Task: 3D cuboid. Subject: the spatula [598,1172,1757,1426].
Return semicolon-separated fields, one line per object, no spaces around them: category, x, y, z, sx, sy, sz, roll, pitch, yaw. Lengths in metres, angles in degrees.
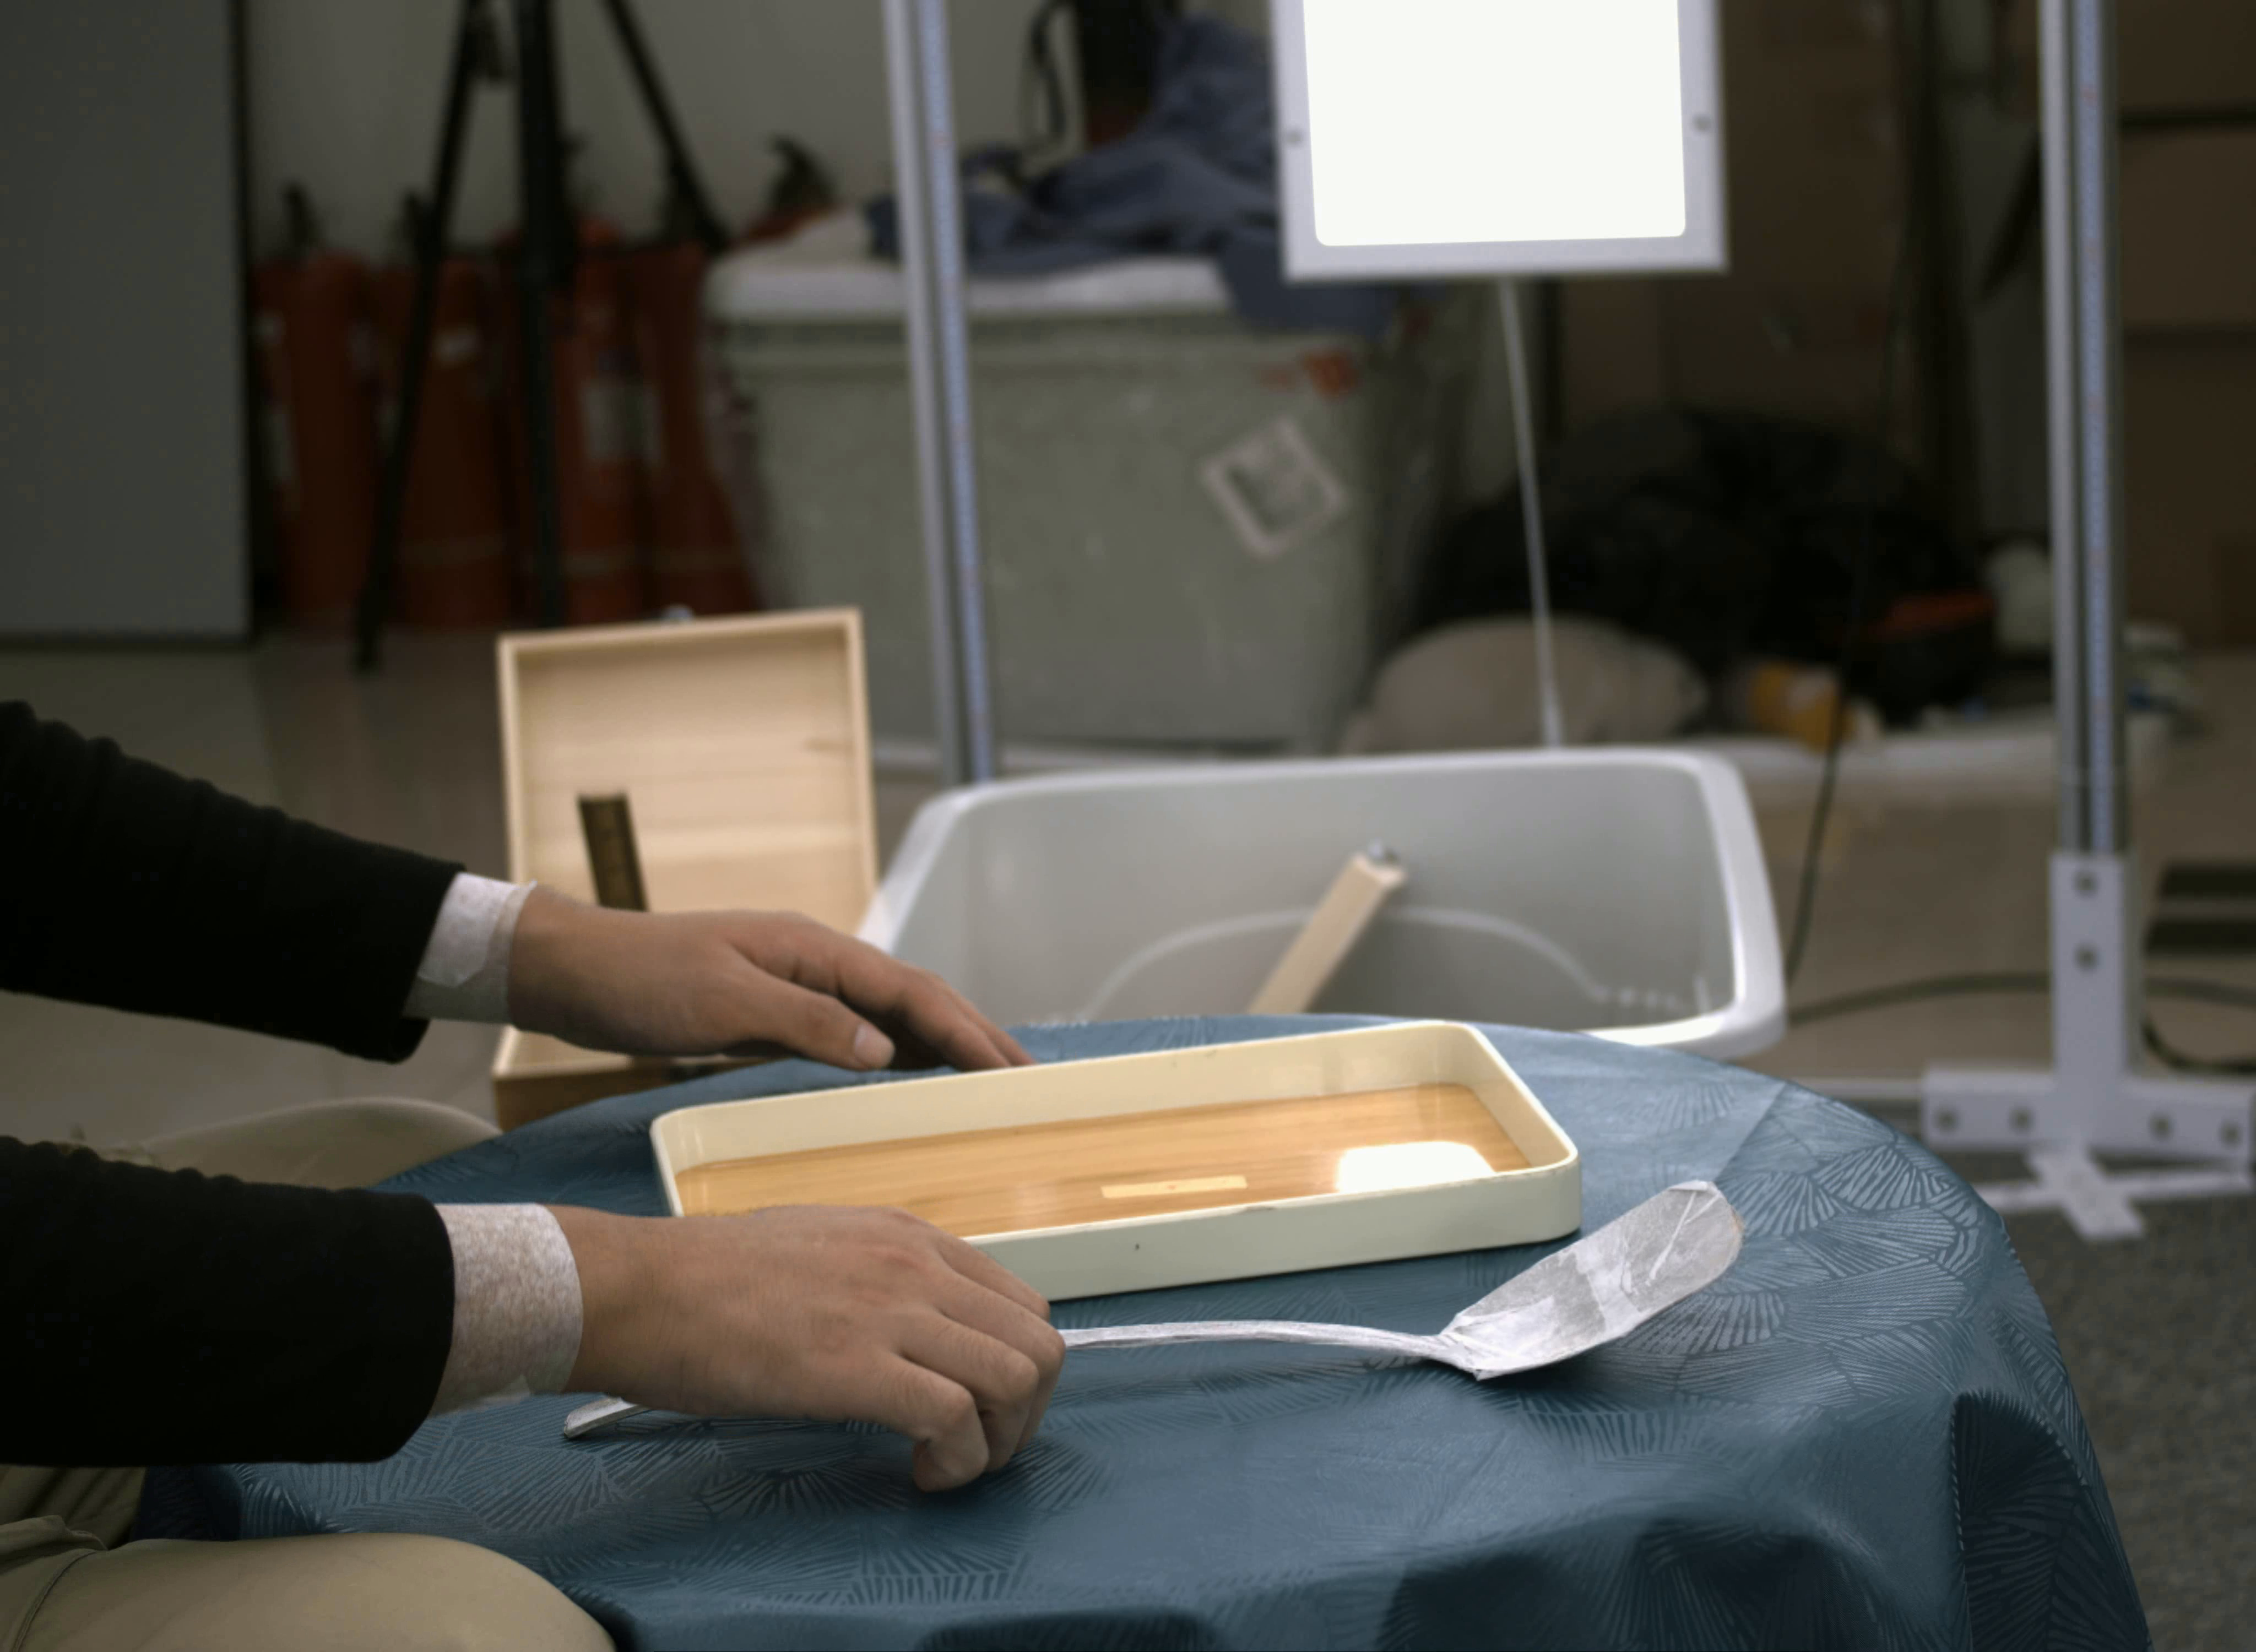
spatula;0.014;0.153;1.704;0.364;0.045;0.098;-5;14;2

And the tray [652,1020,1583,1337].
tray;-0.008;0.118;1.879;0.298;0.027;0.192;-7;14;-5
